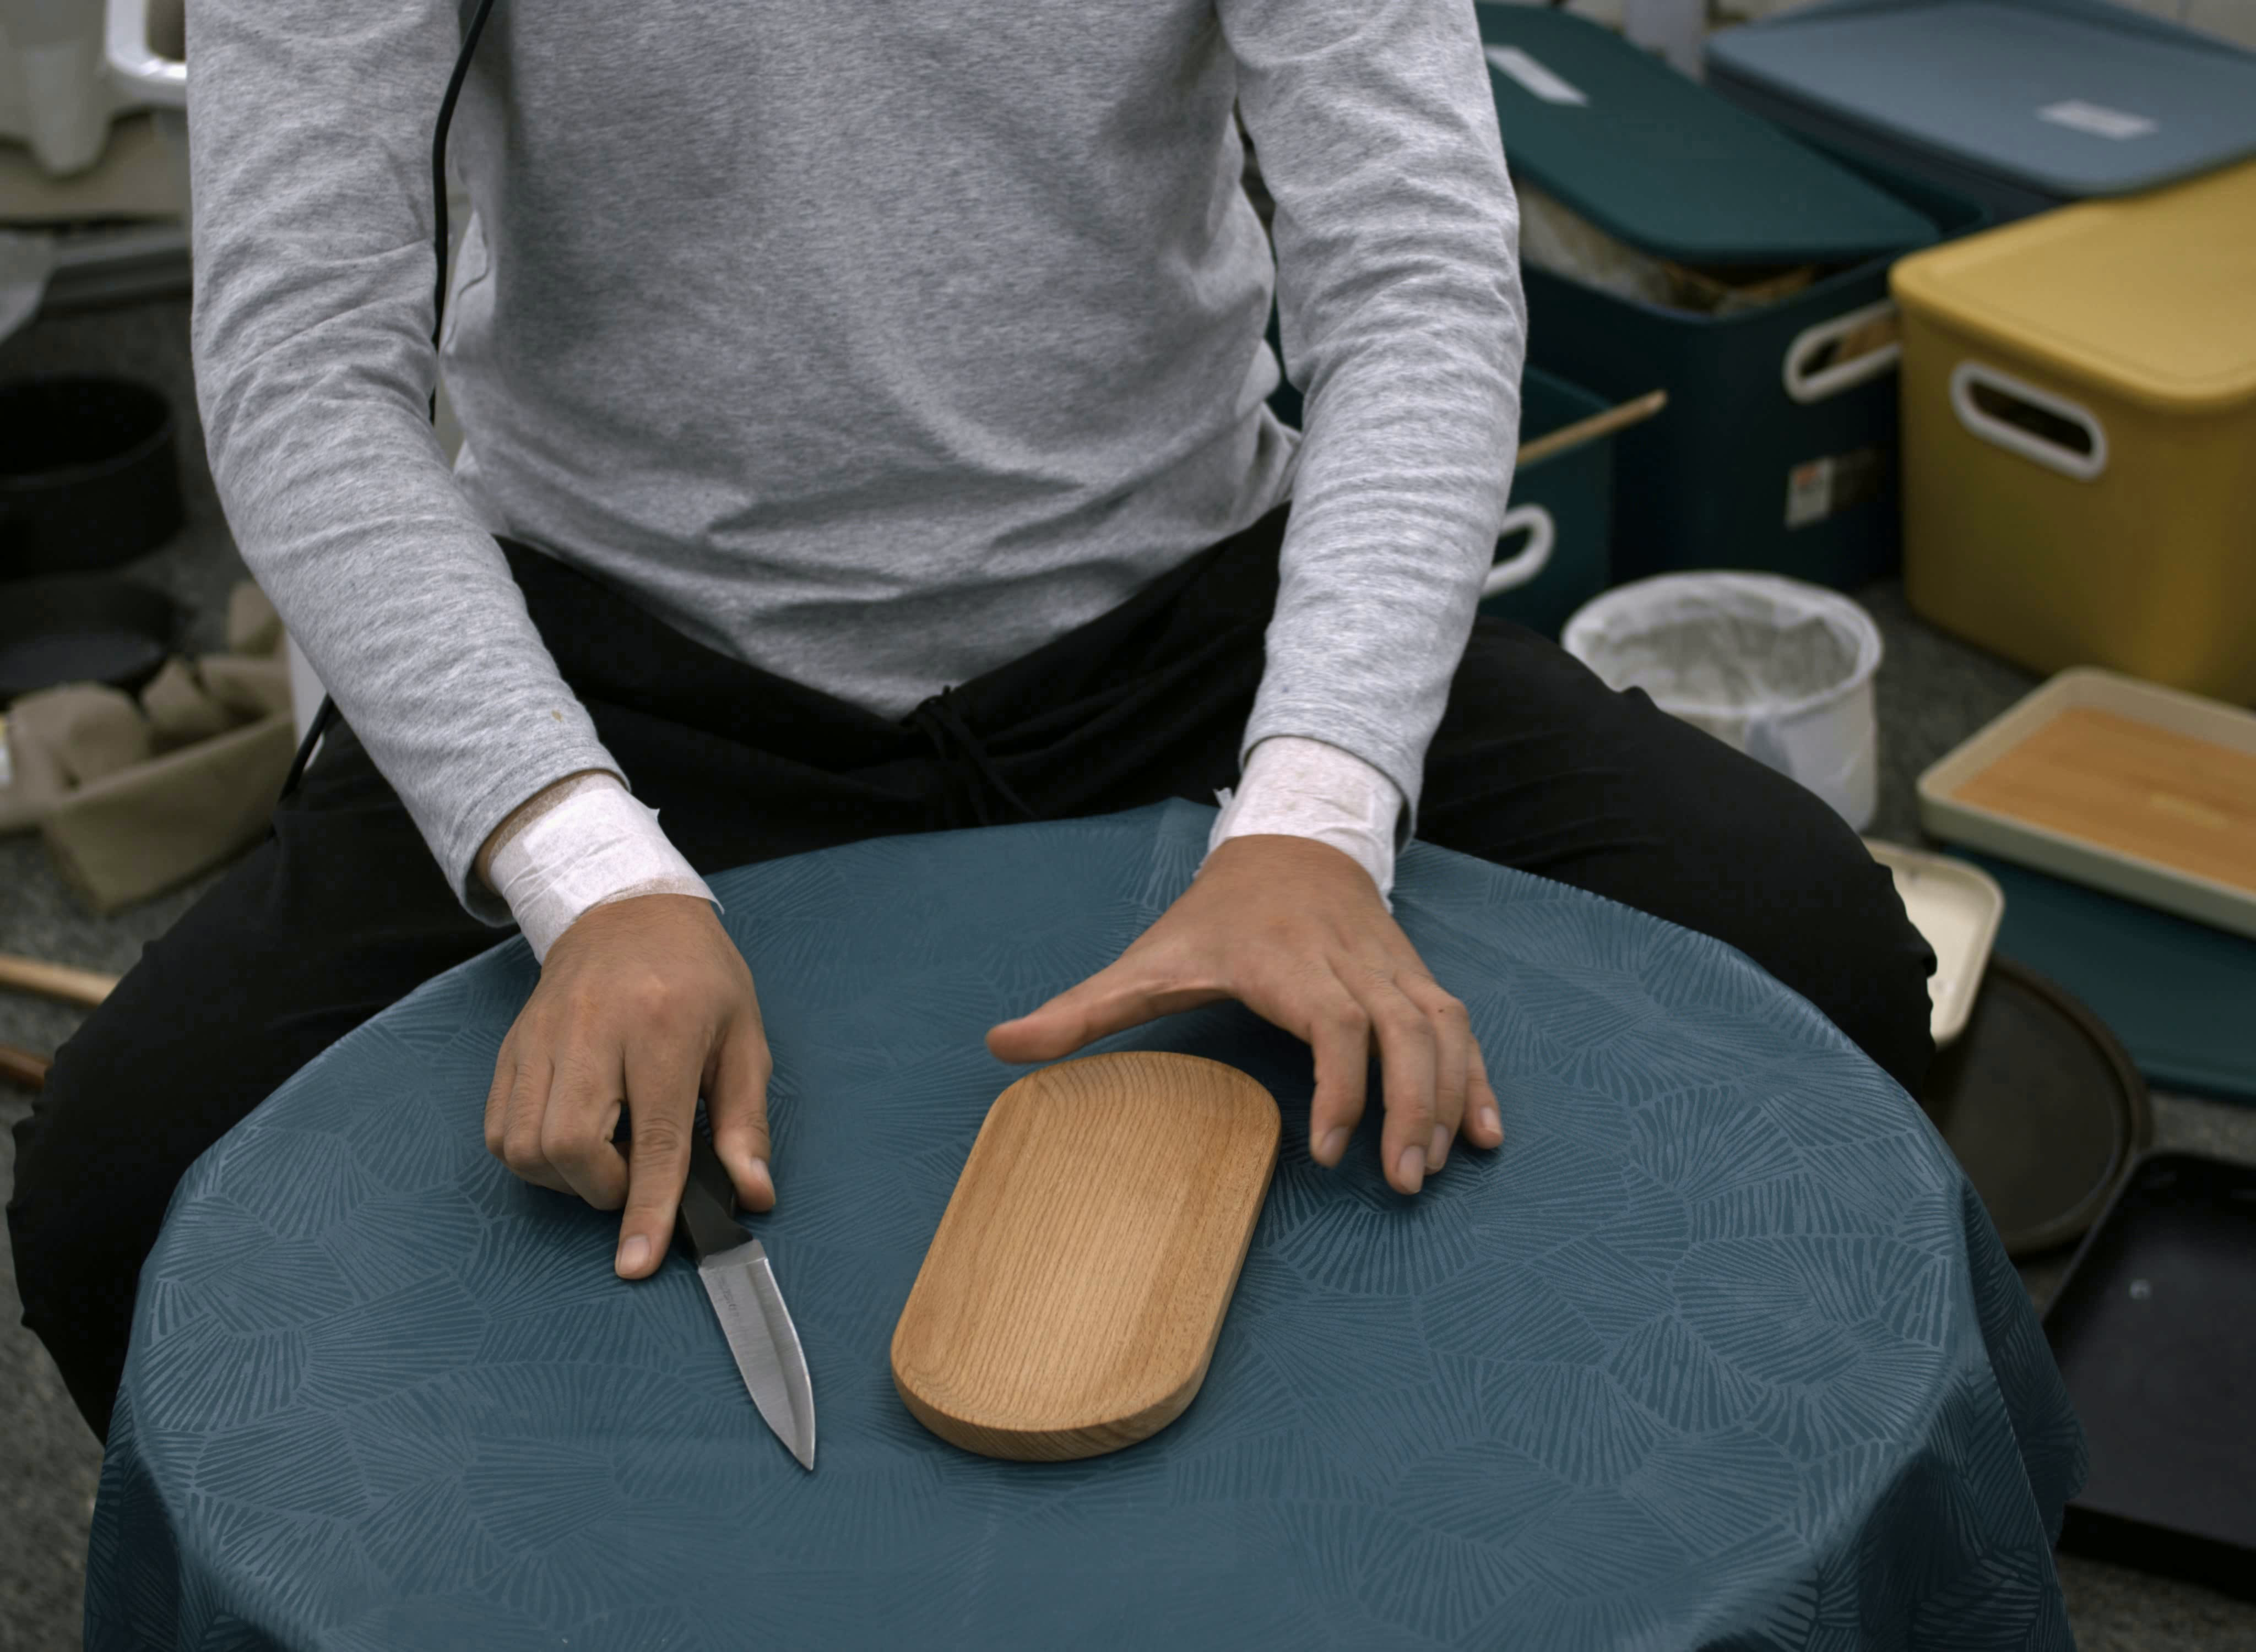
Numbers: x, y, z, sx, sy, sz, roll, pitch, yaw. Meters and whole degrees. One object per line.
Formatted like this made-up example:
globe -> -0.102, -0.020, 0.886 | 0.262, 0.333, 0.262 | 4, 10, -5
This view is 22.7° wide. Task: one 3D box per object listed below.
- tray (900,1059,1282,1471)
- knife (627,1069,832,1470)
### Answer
tray -> -0.010, 0.139, 1.812 | 0.101, 0.020, 0.235 | 1, 29, 10
knife -> -0.130, 0.144, 1.818 | 0.024, 0.016, 0.240 | -16, 31, -10
